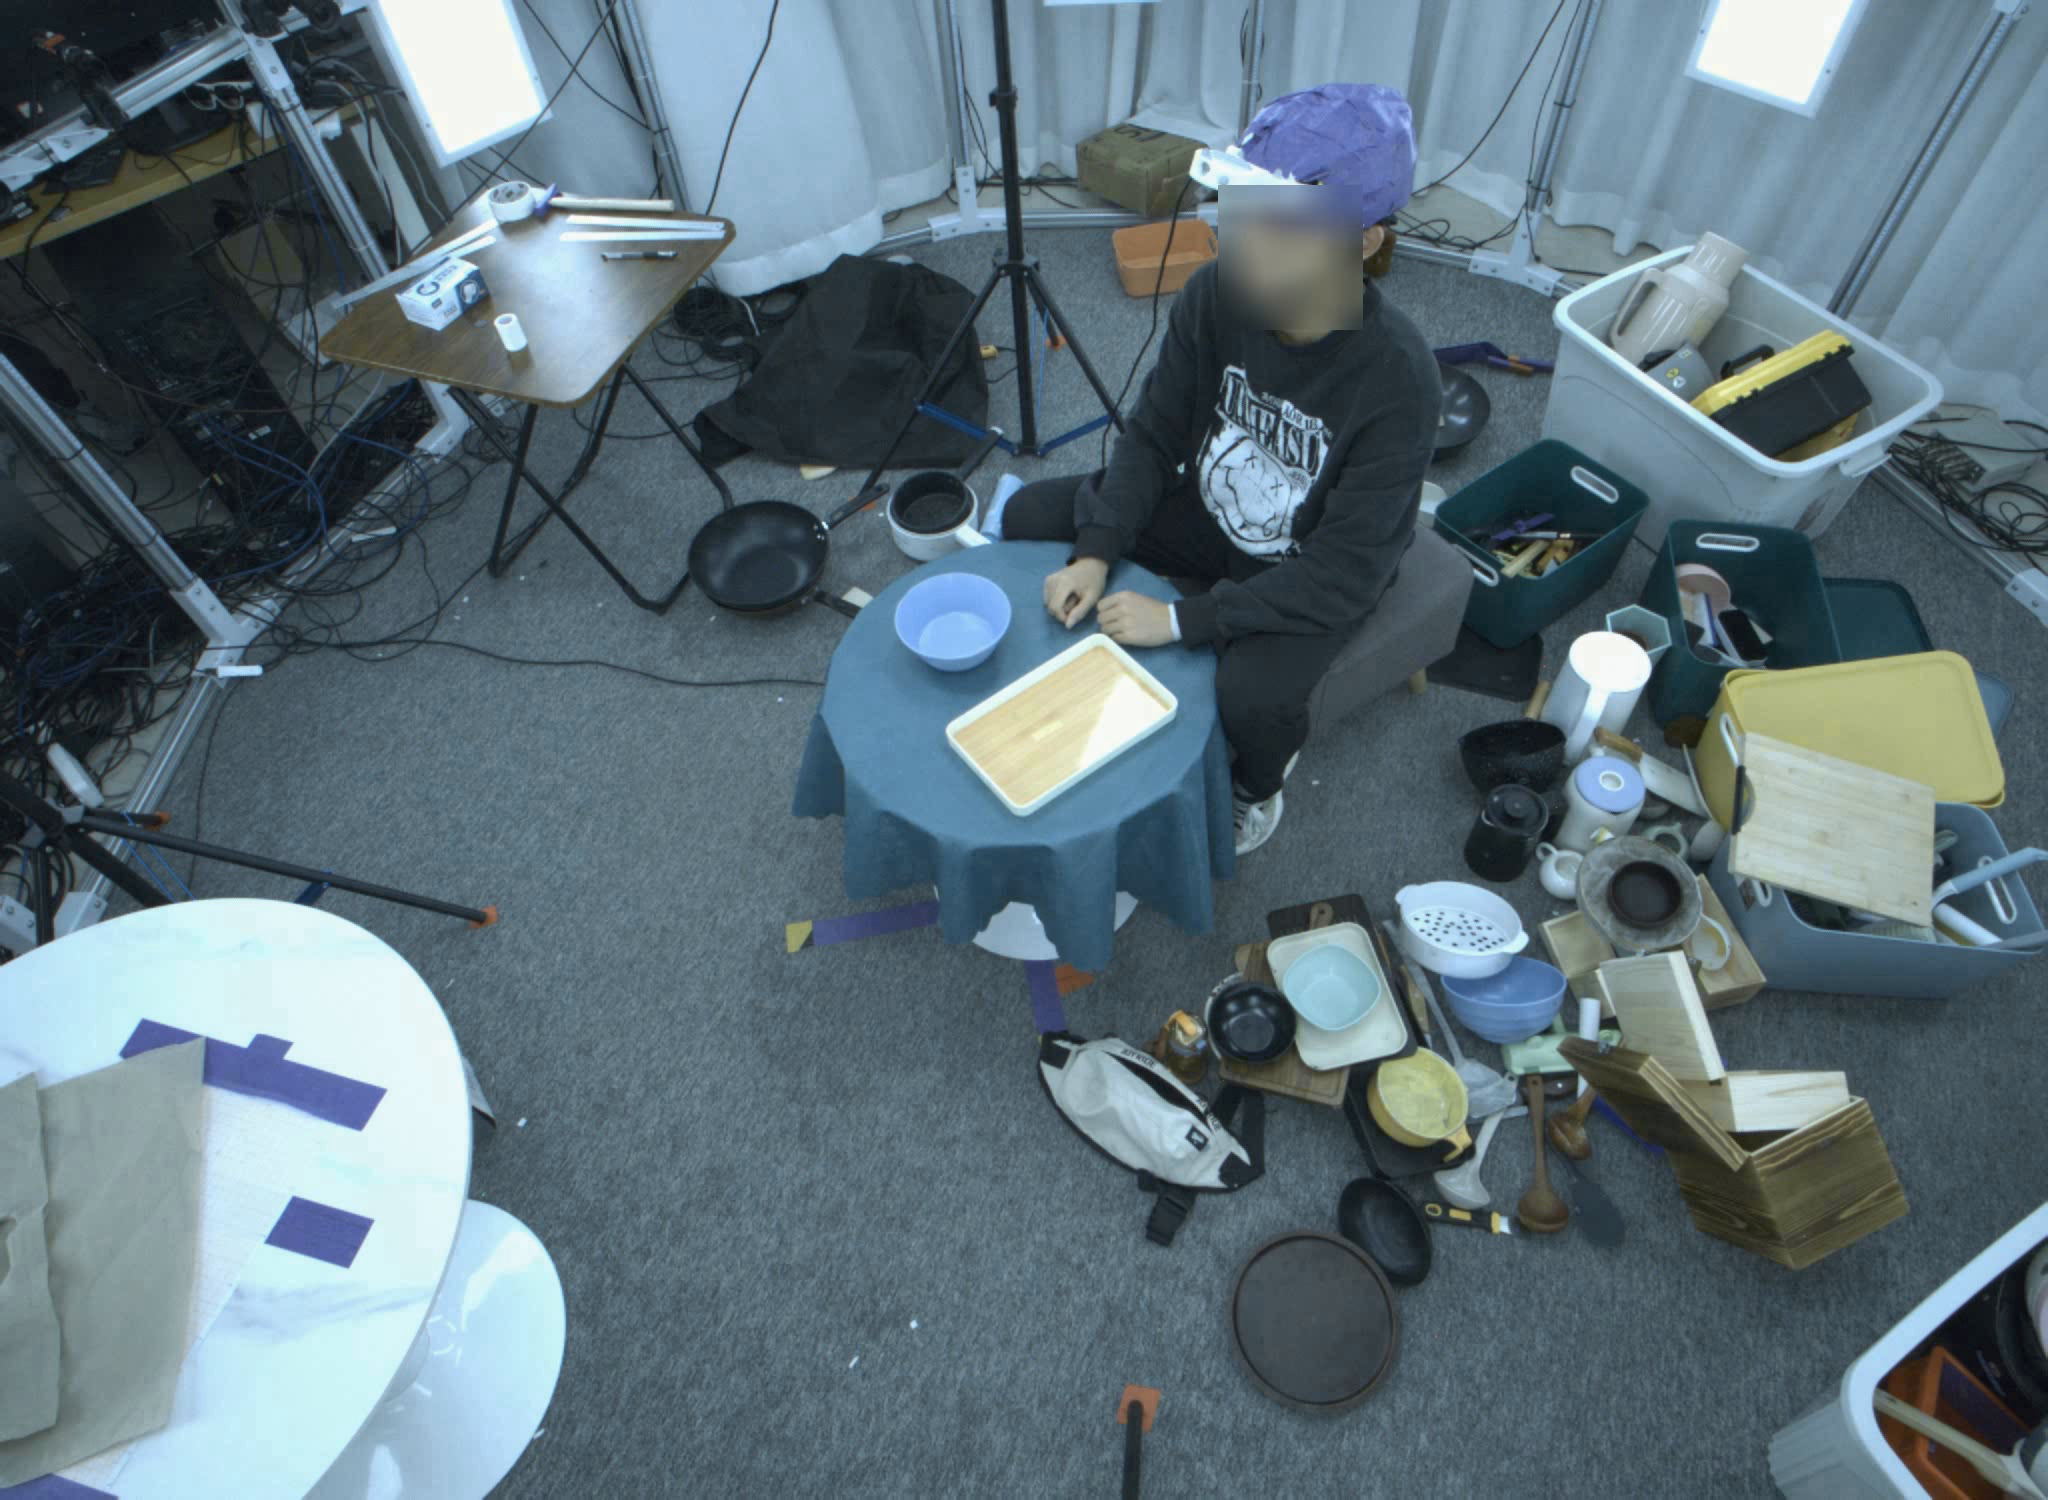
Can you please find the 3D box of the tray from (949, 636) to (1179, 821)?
[{"bbox_3d":[0.059,-0.037,1.806,0.302,0.028,0.188,-33,61,-20],"label":"tray"}]

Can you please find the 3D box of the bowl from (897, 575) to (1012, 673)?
[{"bbox_3d":[-0.104,-0.183,1.886,0.176,0.071,0.174,-1,56,2],"label":"bowl"}]
